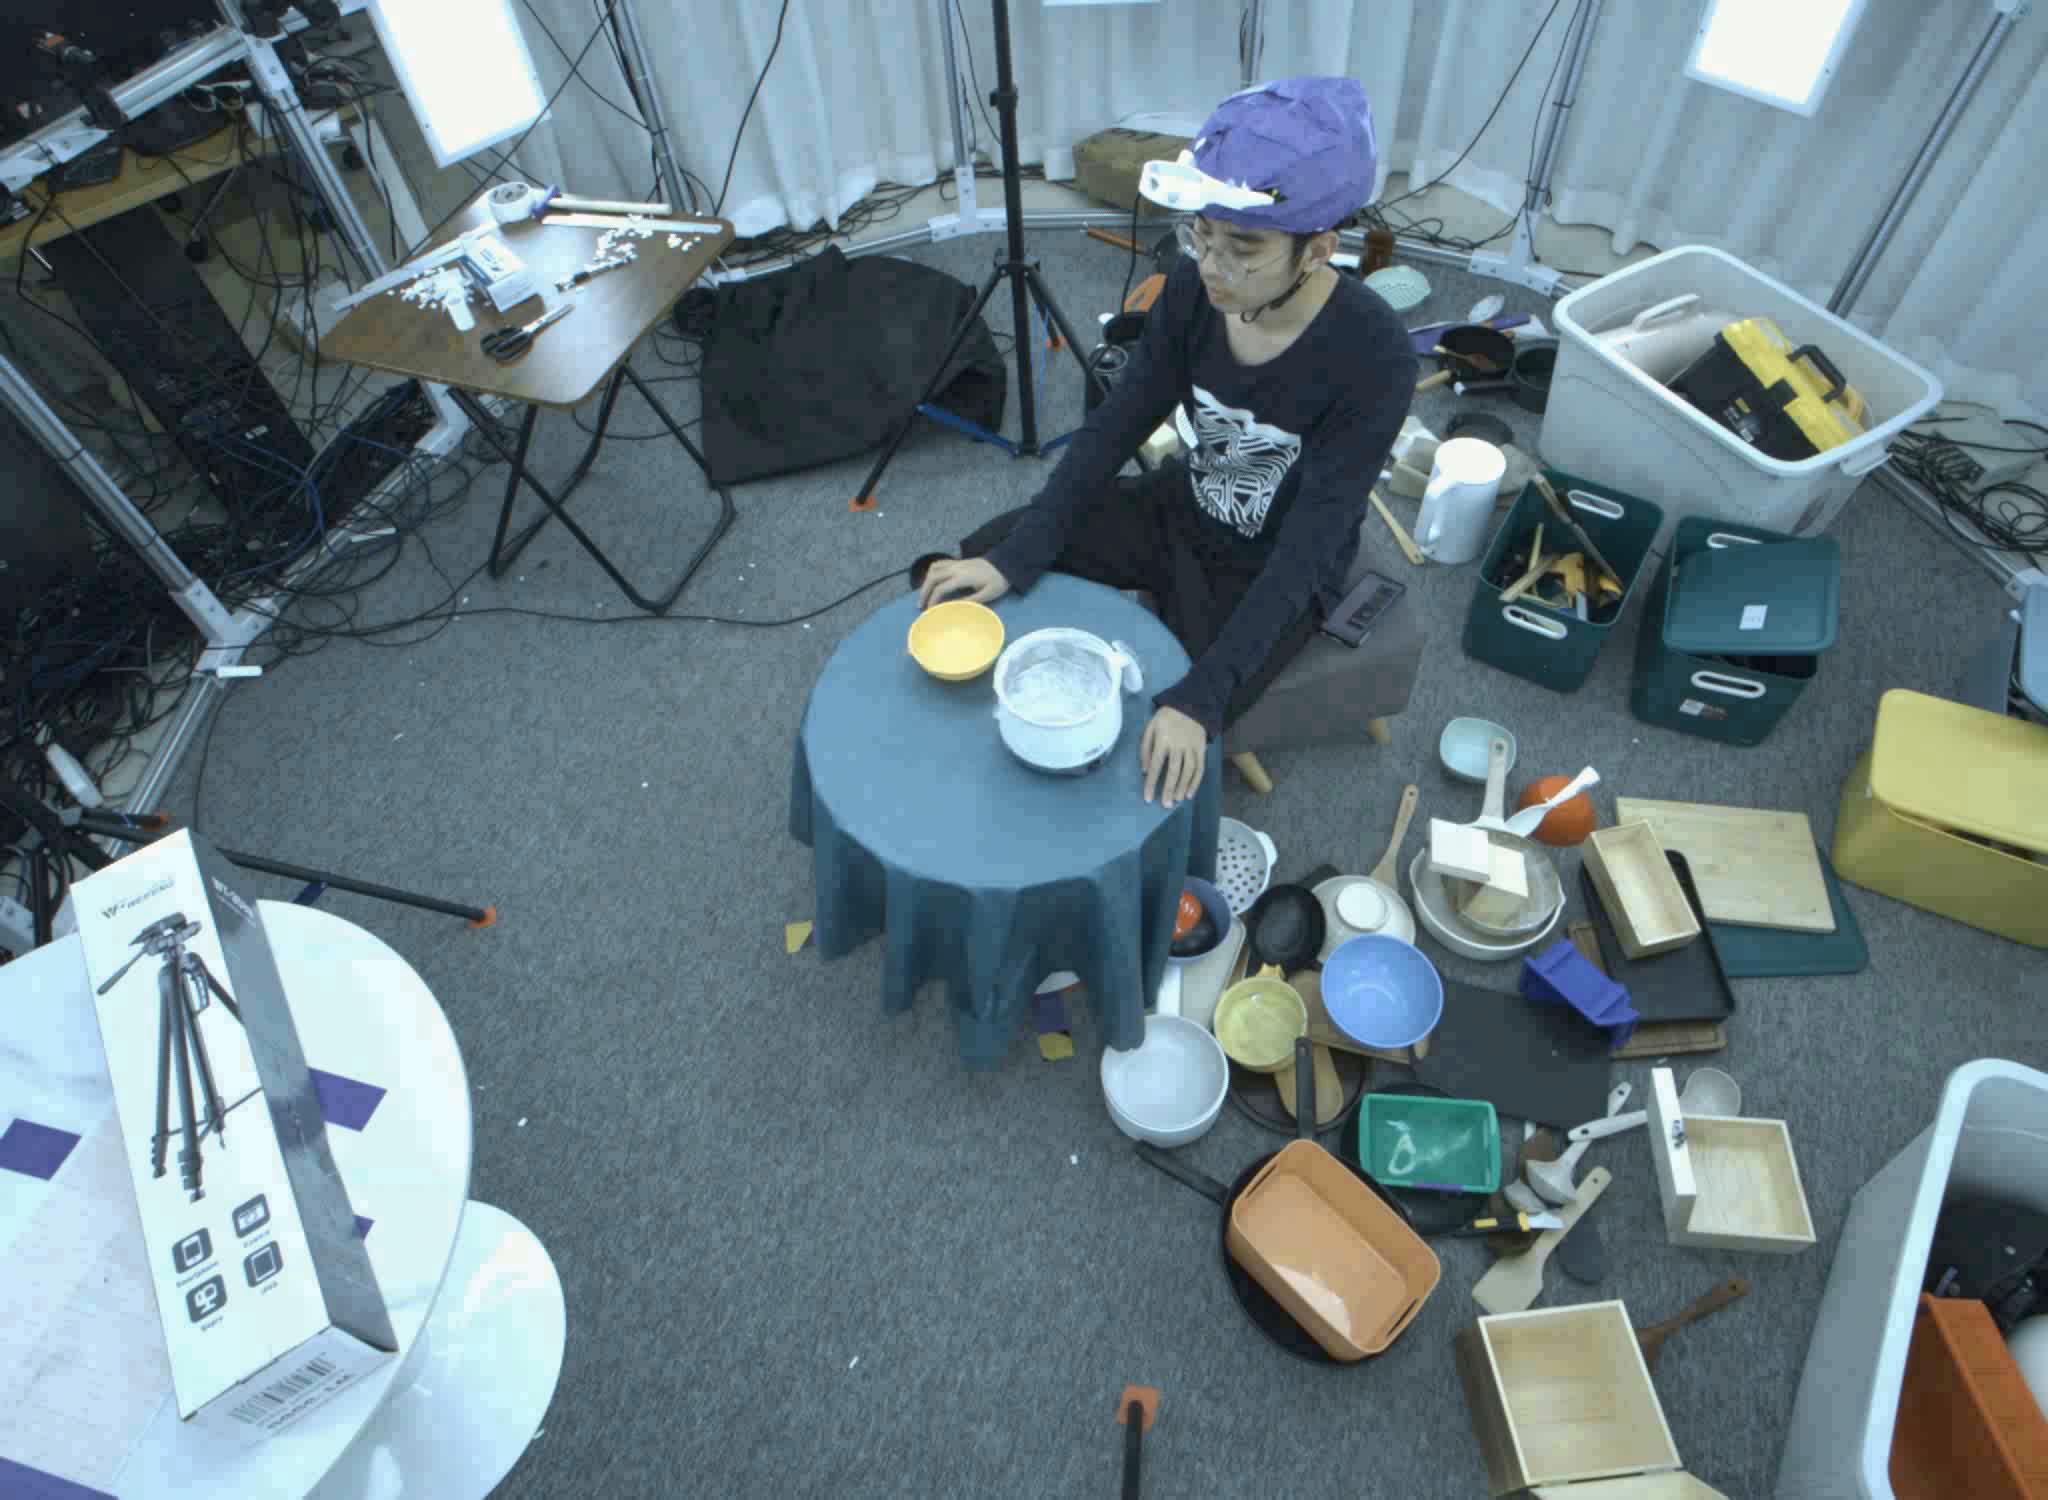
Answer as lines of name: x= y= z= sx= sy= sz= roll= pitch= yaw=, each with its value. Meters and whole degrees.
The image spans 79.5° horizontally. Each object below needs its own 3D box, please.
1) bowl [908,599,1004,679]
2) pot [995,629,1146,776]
bowl: x=-0.102 y=-0.158 z=1.872 sx=0.145 sy=0.061 sz=0.144 roll=0 pitch=57 yaw=2
pot: x=0.074 y=-0.078 z=1.767 sx=0.236 sy=0.138 sz=0.175 roll=-28 pitch=58 yaw=-19
